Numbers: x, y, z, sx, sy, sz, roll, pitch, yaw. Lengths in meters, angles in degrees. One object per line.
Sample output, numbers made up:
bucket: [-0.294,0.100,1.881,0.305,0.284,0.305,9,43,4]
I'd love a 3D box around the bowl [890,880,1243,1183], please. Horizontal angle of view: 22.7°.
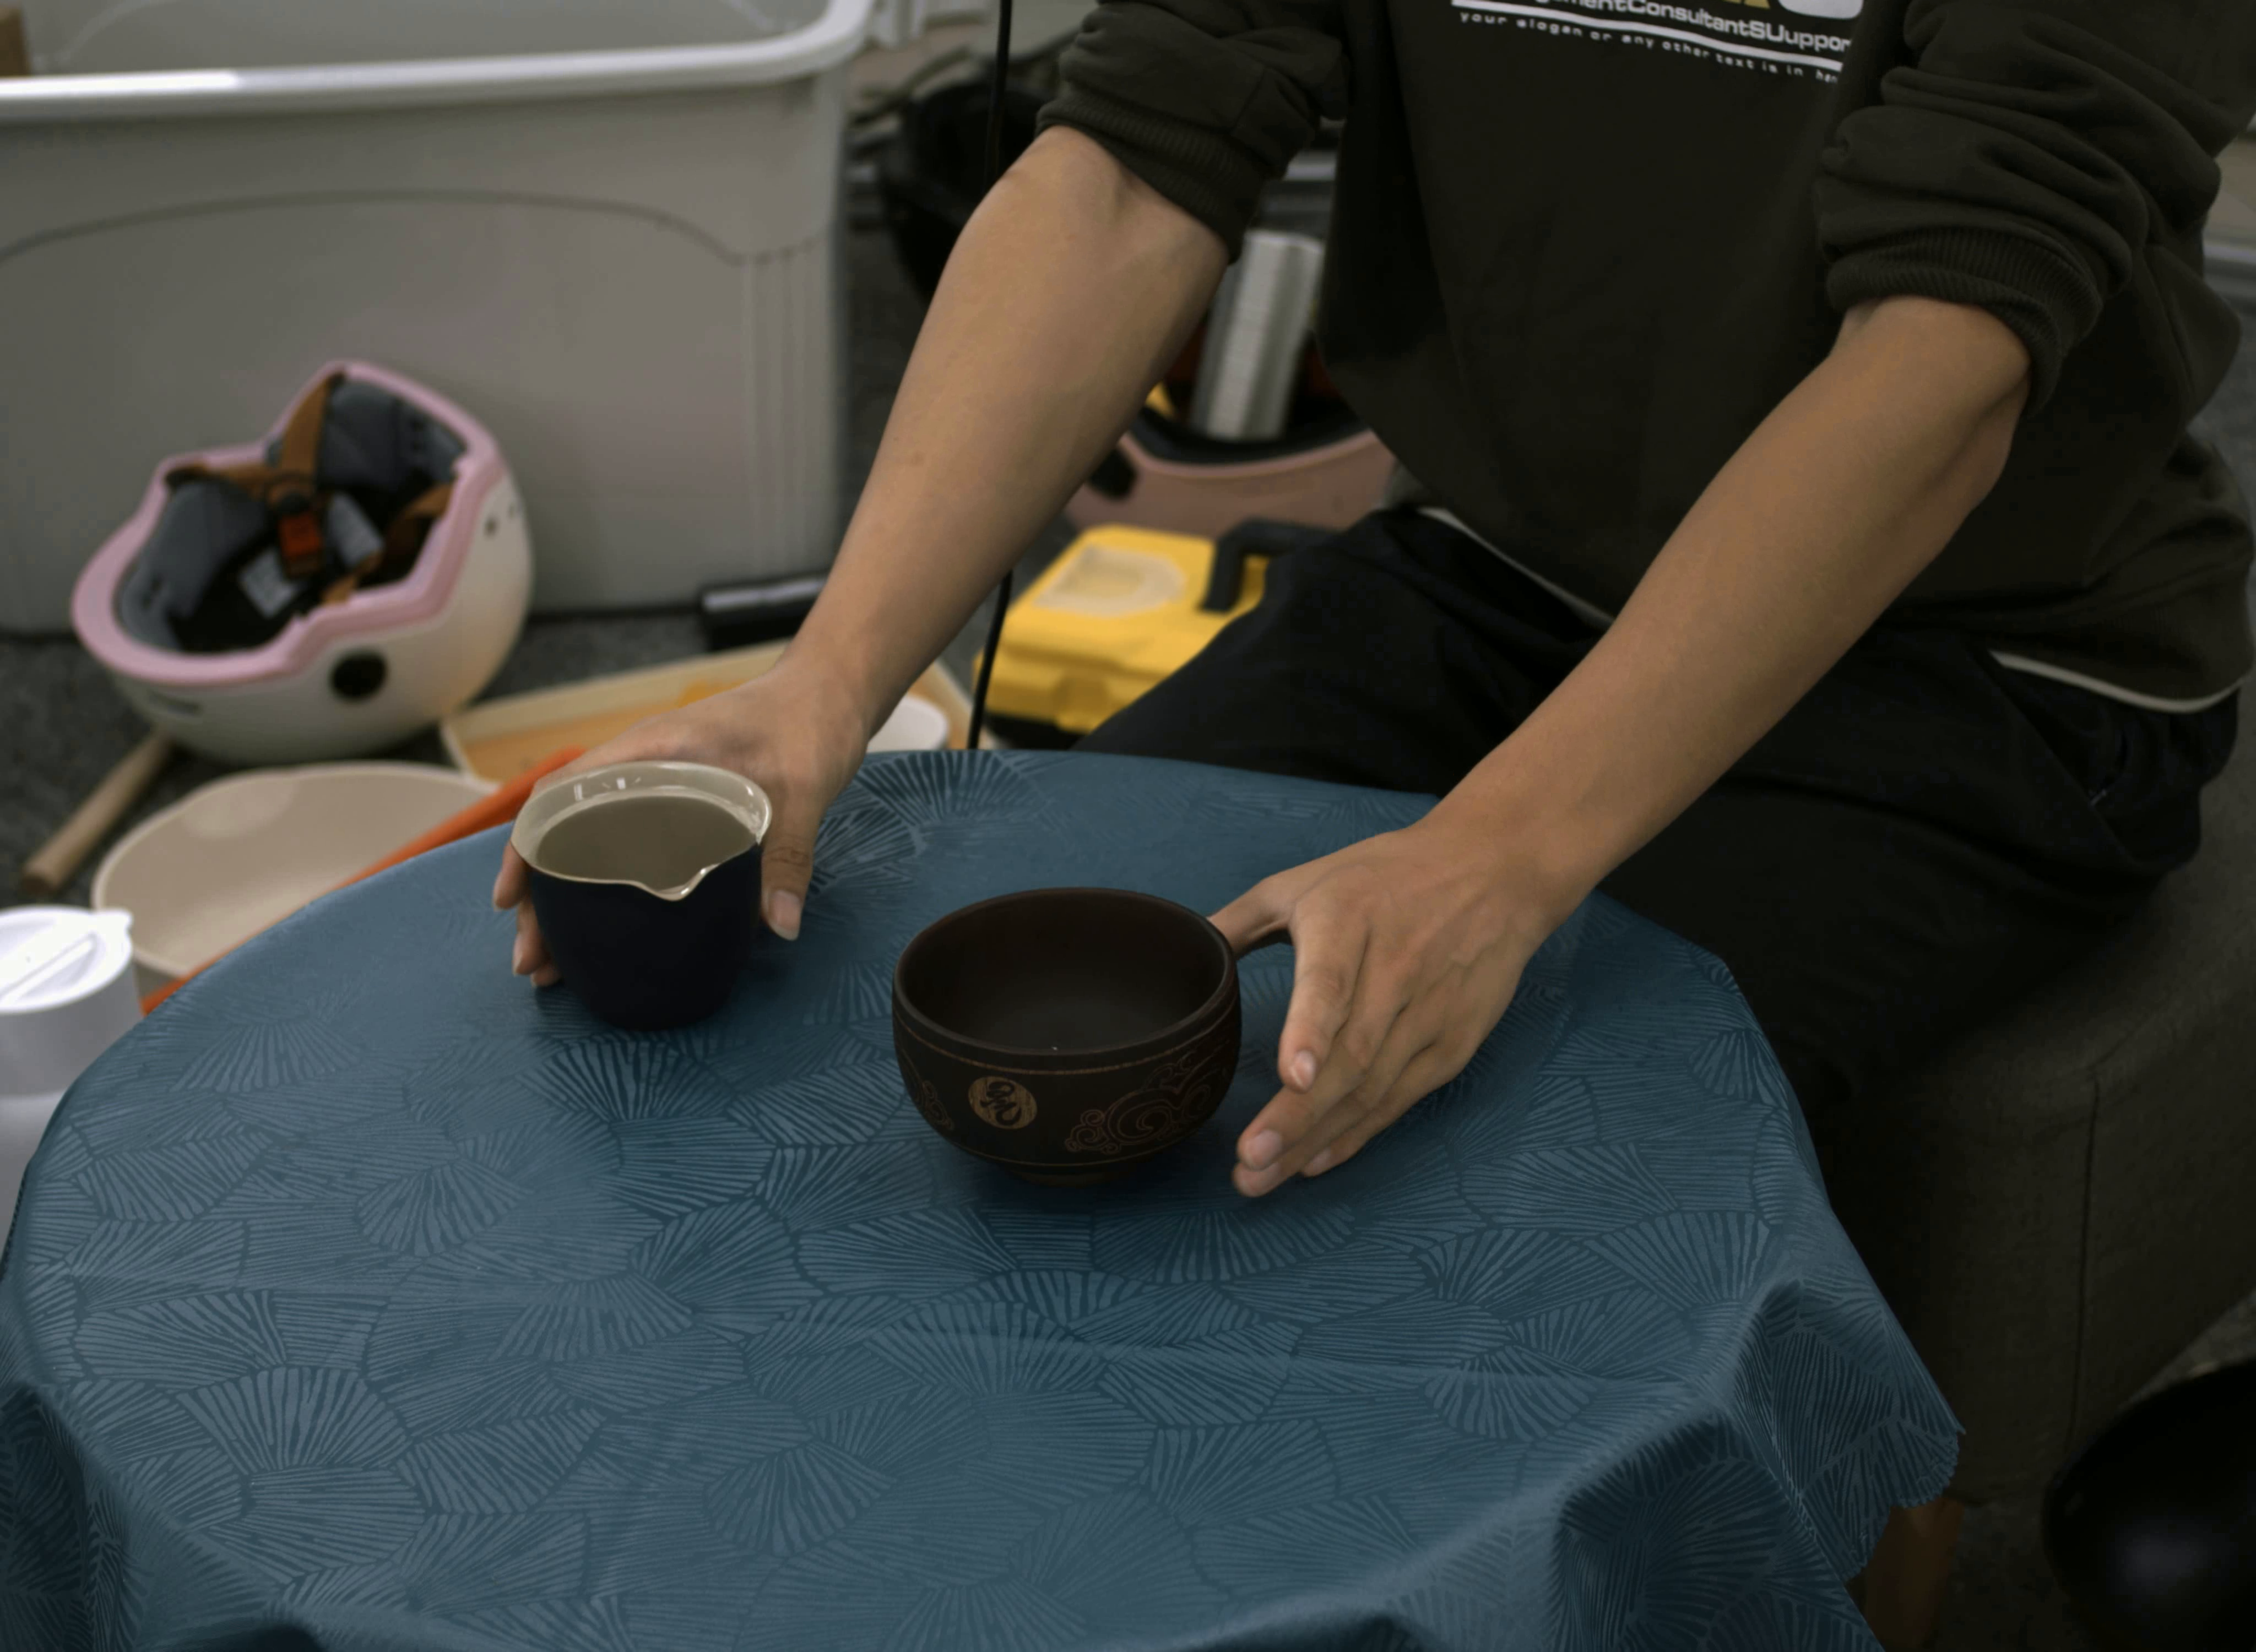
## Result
bowl: [-0.019,0.076,1.878,0.117,0.069,0.120,-3,28,2]

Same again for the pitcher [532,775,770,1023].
pitcher: [-0.166,0.029,1.977,0.083,0.070,0.097,-6,26,-10]
